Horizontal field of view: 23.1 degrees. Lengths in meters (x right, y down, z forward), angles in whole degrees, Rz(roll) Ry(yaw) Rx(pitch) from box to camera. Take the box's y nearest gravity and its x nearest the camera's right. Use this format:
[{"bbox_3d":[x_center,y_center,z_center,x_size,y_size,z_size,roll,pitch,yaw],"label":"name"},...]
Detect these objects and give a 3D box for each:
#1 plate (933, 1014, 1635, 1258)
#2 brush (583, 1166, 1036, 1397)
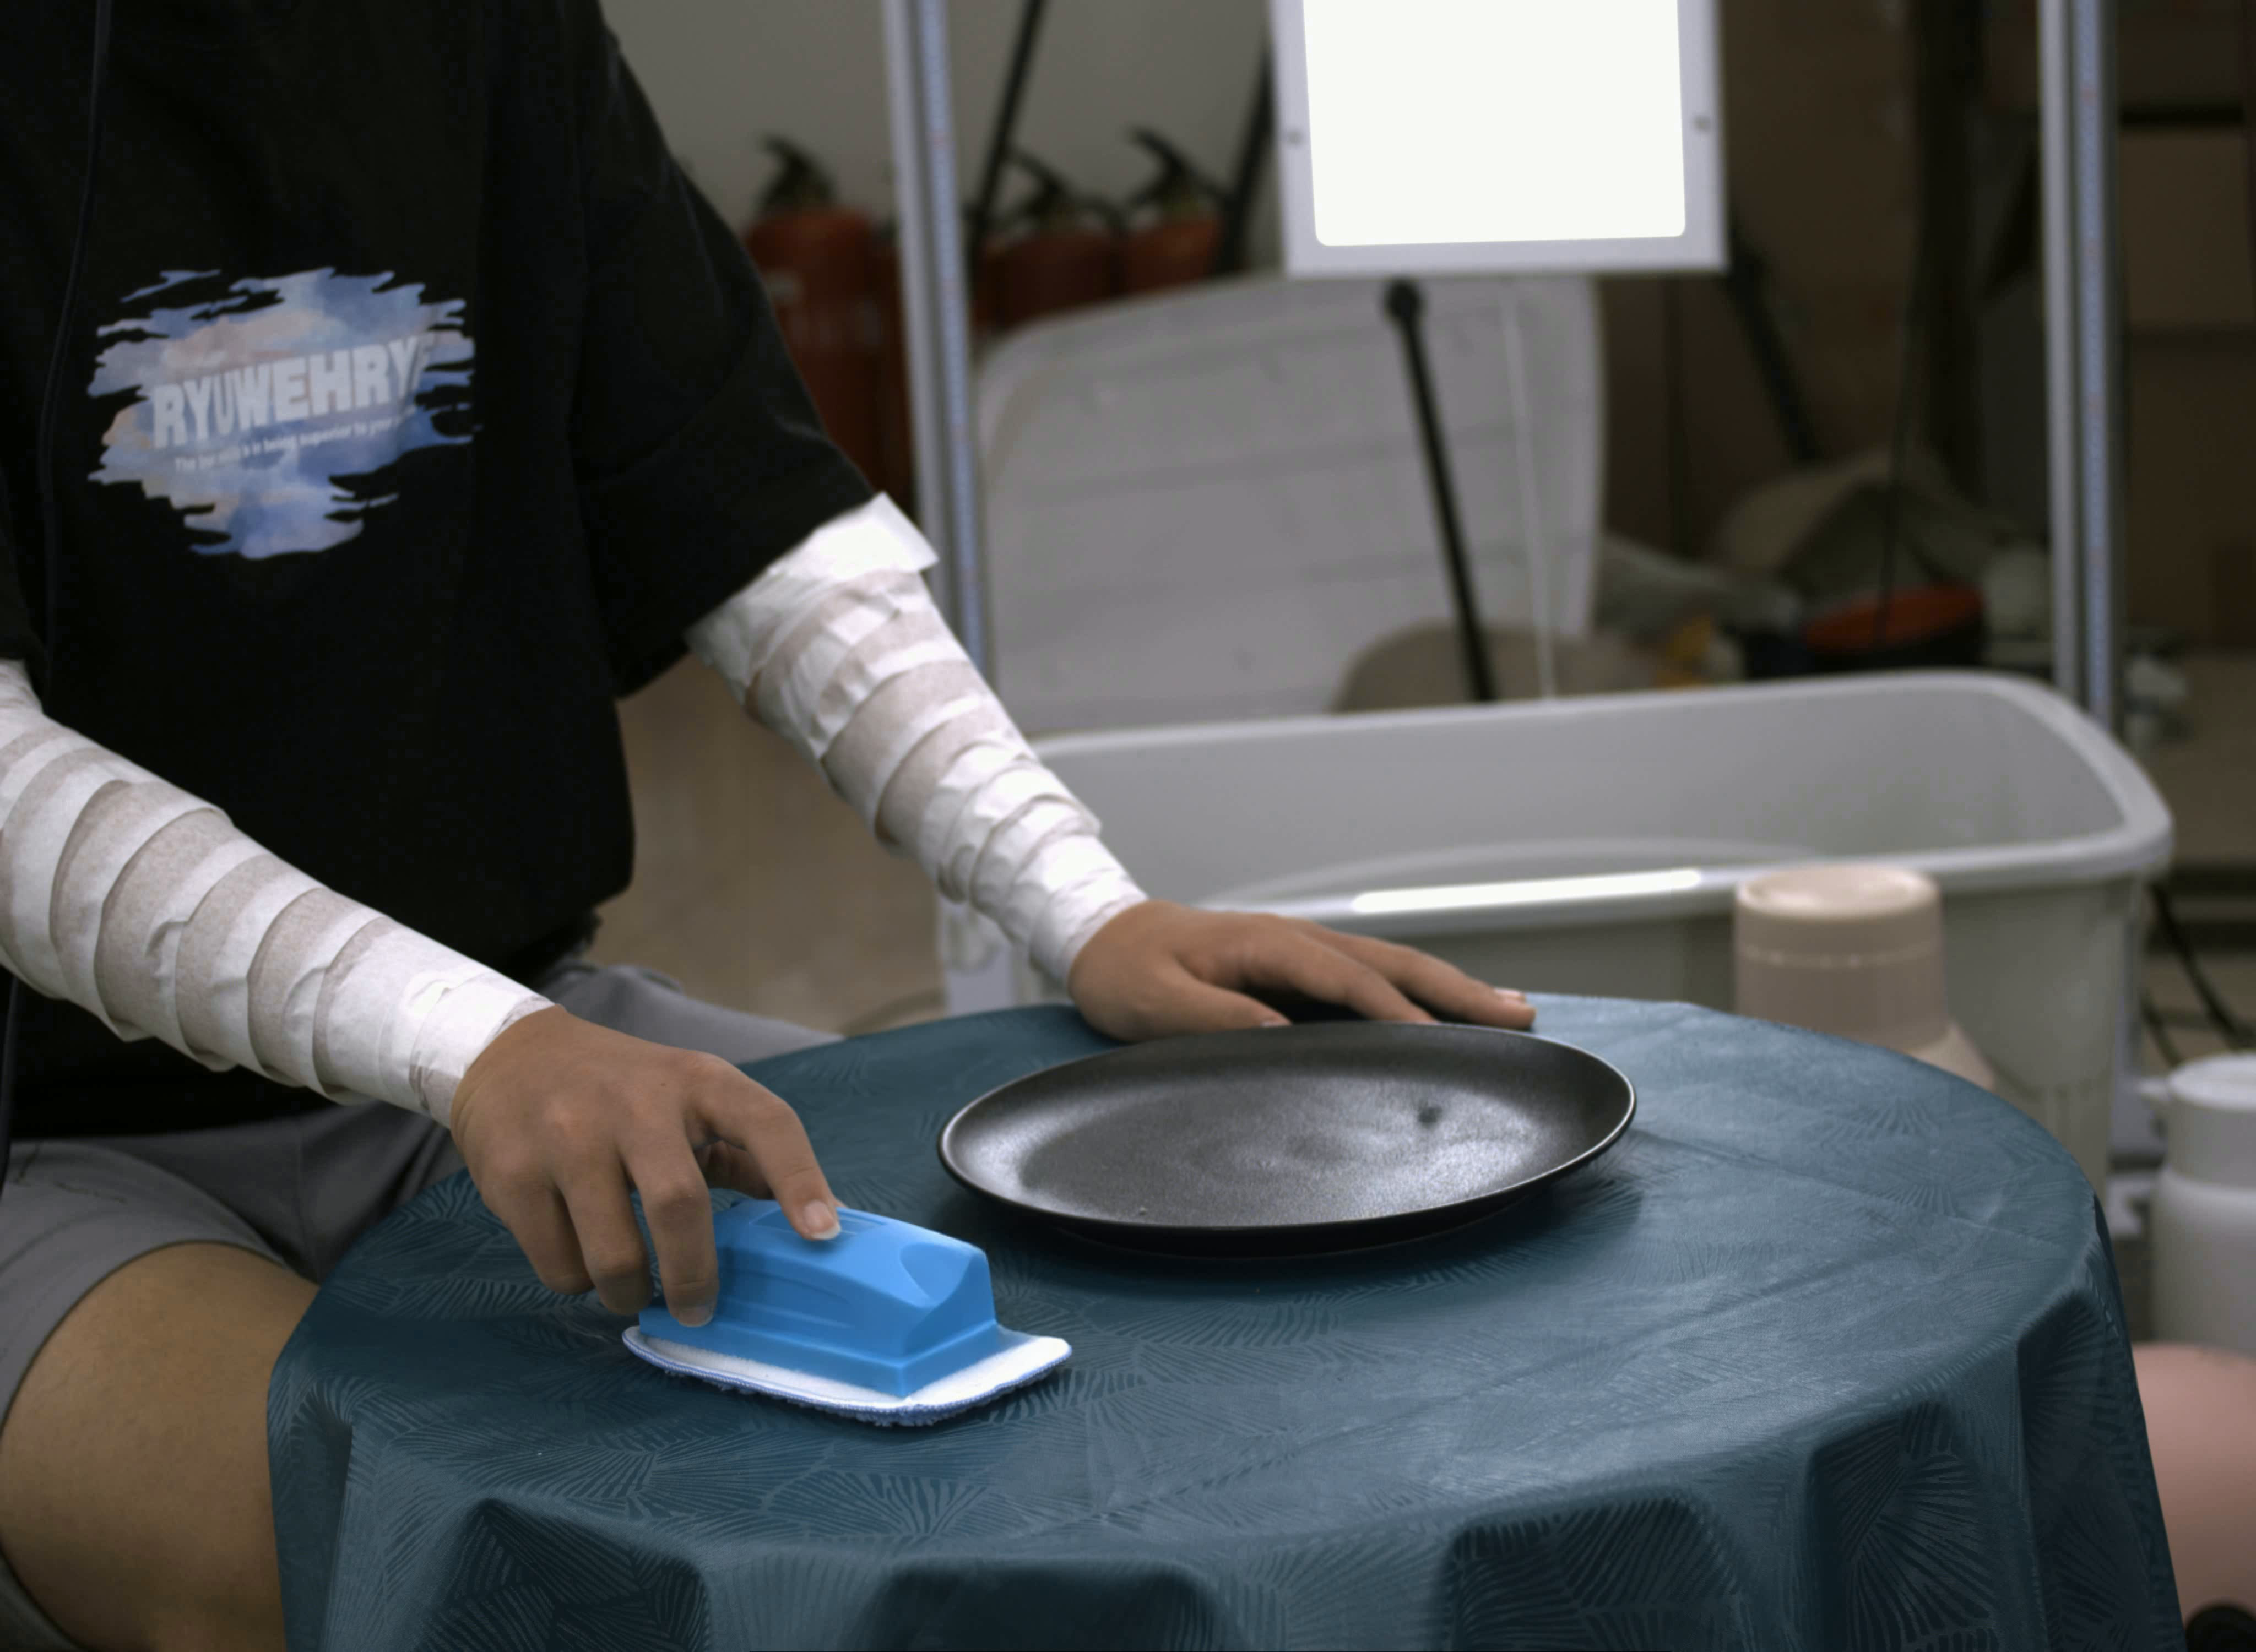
[{"bbox_3d":[0.055,0.109,1.897,0.244,0.023,0.244,-5,14,0],"label":"plate"},{"bbox_3d":[-0.100,0.142,1.738,0.147,0.056,0.082,12,18,41],"label":"brush"}]
